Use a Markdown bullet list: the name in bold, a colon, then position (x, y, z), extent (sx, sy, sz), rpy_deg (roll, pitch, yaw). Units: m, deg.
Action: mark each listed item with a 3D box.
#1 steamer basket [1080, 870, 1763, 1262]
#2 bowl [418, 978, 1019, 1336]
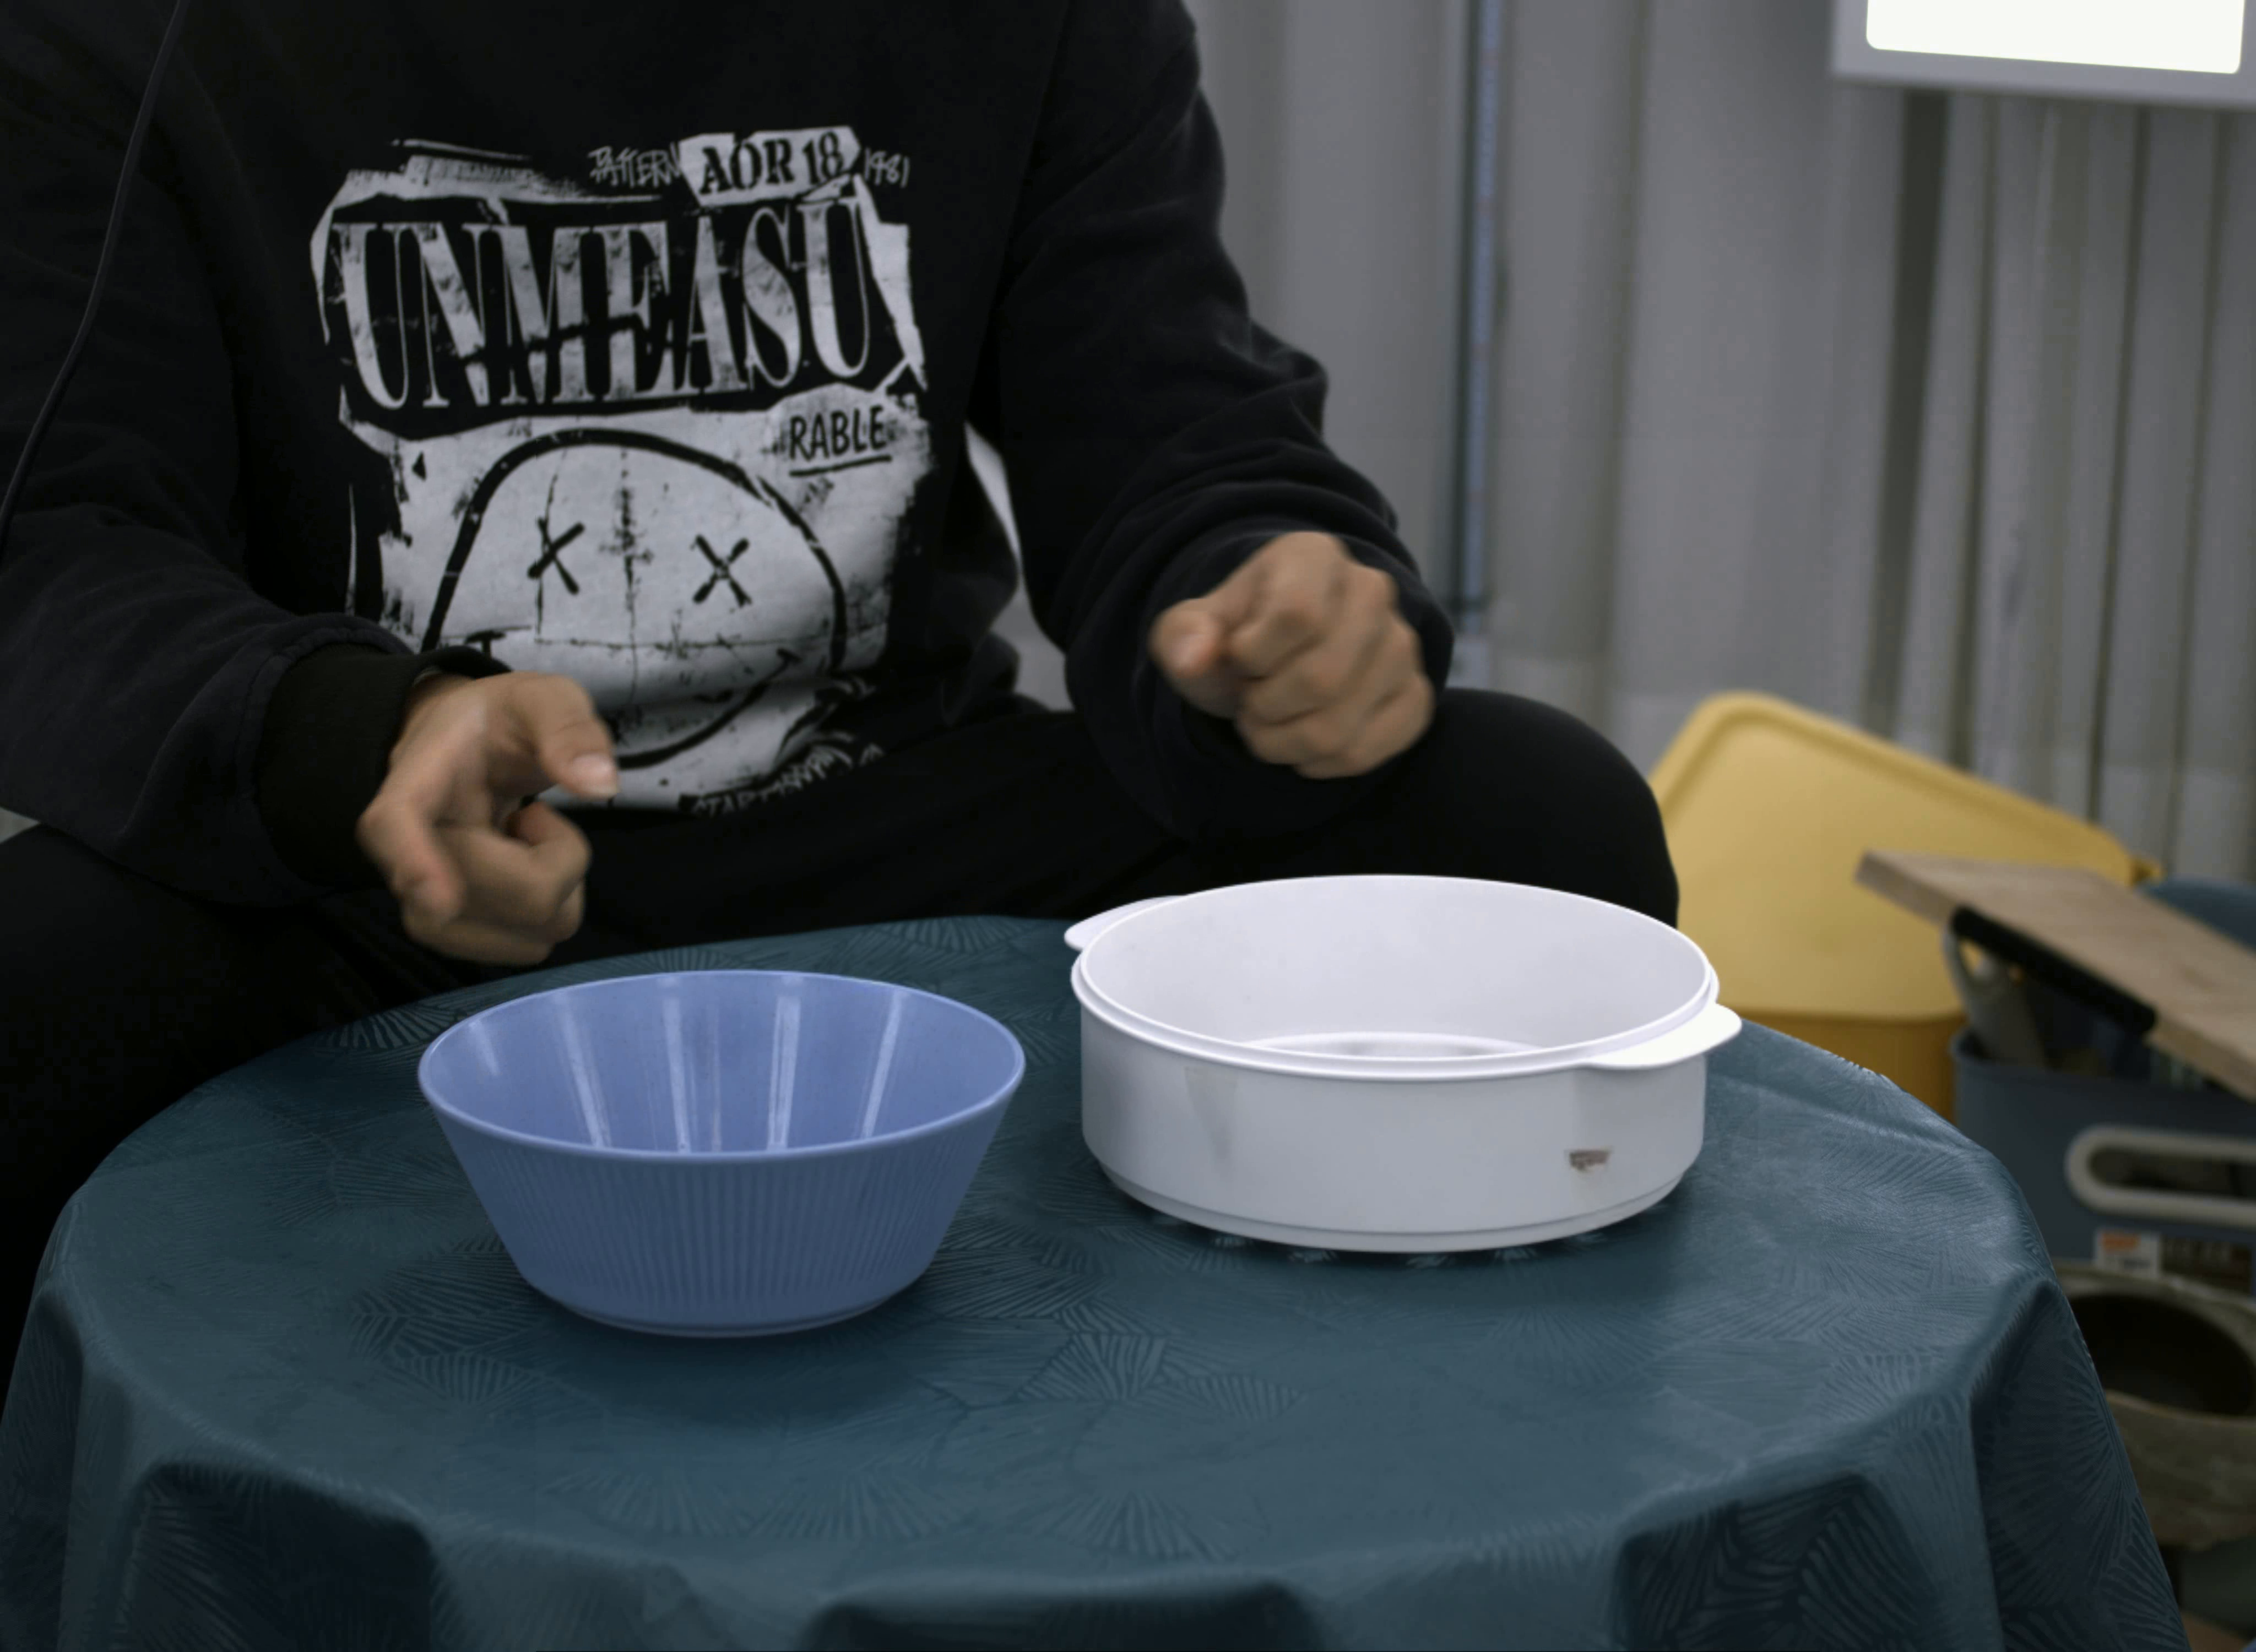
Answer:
- **steamer basket**: position (0.087, 0.074, 1.639), extent (0.227, 0.070, 0.203), rpy_deg (15, 21, 34)
- **bowl**: position (-0.119, 0.099, 1.540), extent (0.175, 0.071, 0.175), rpy_deg (2, 15, 0)
